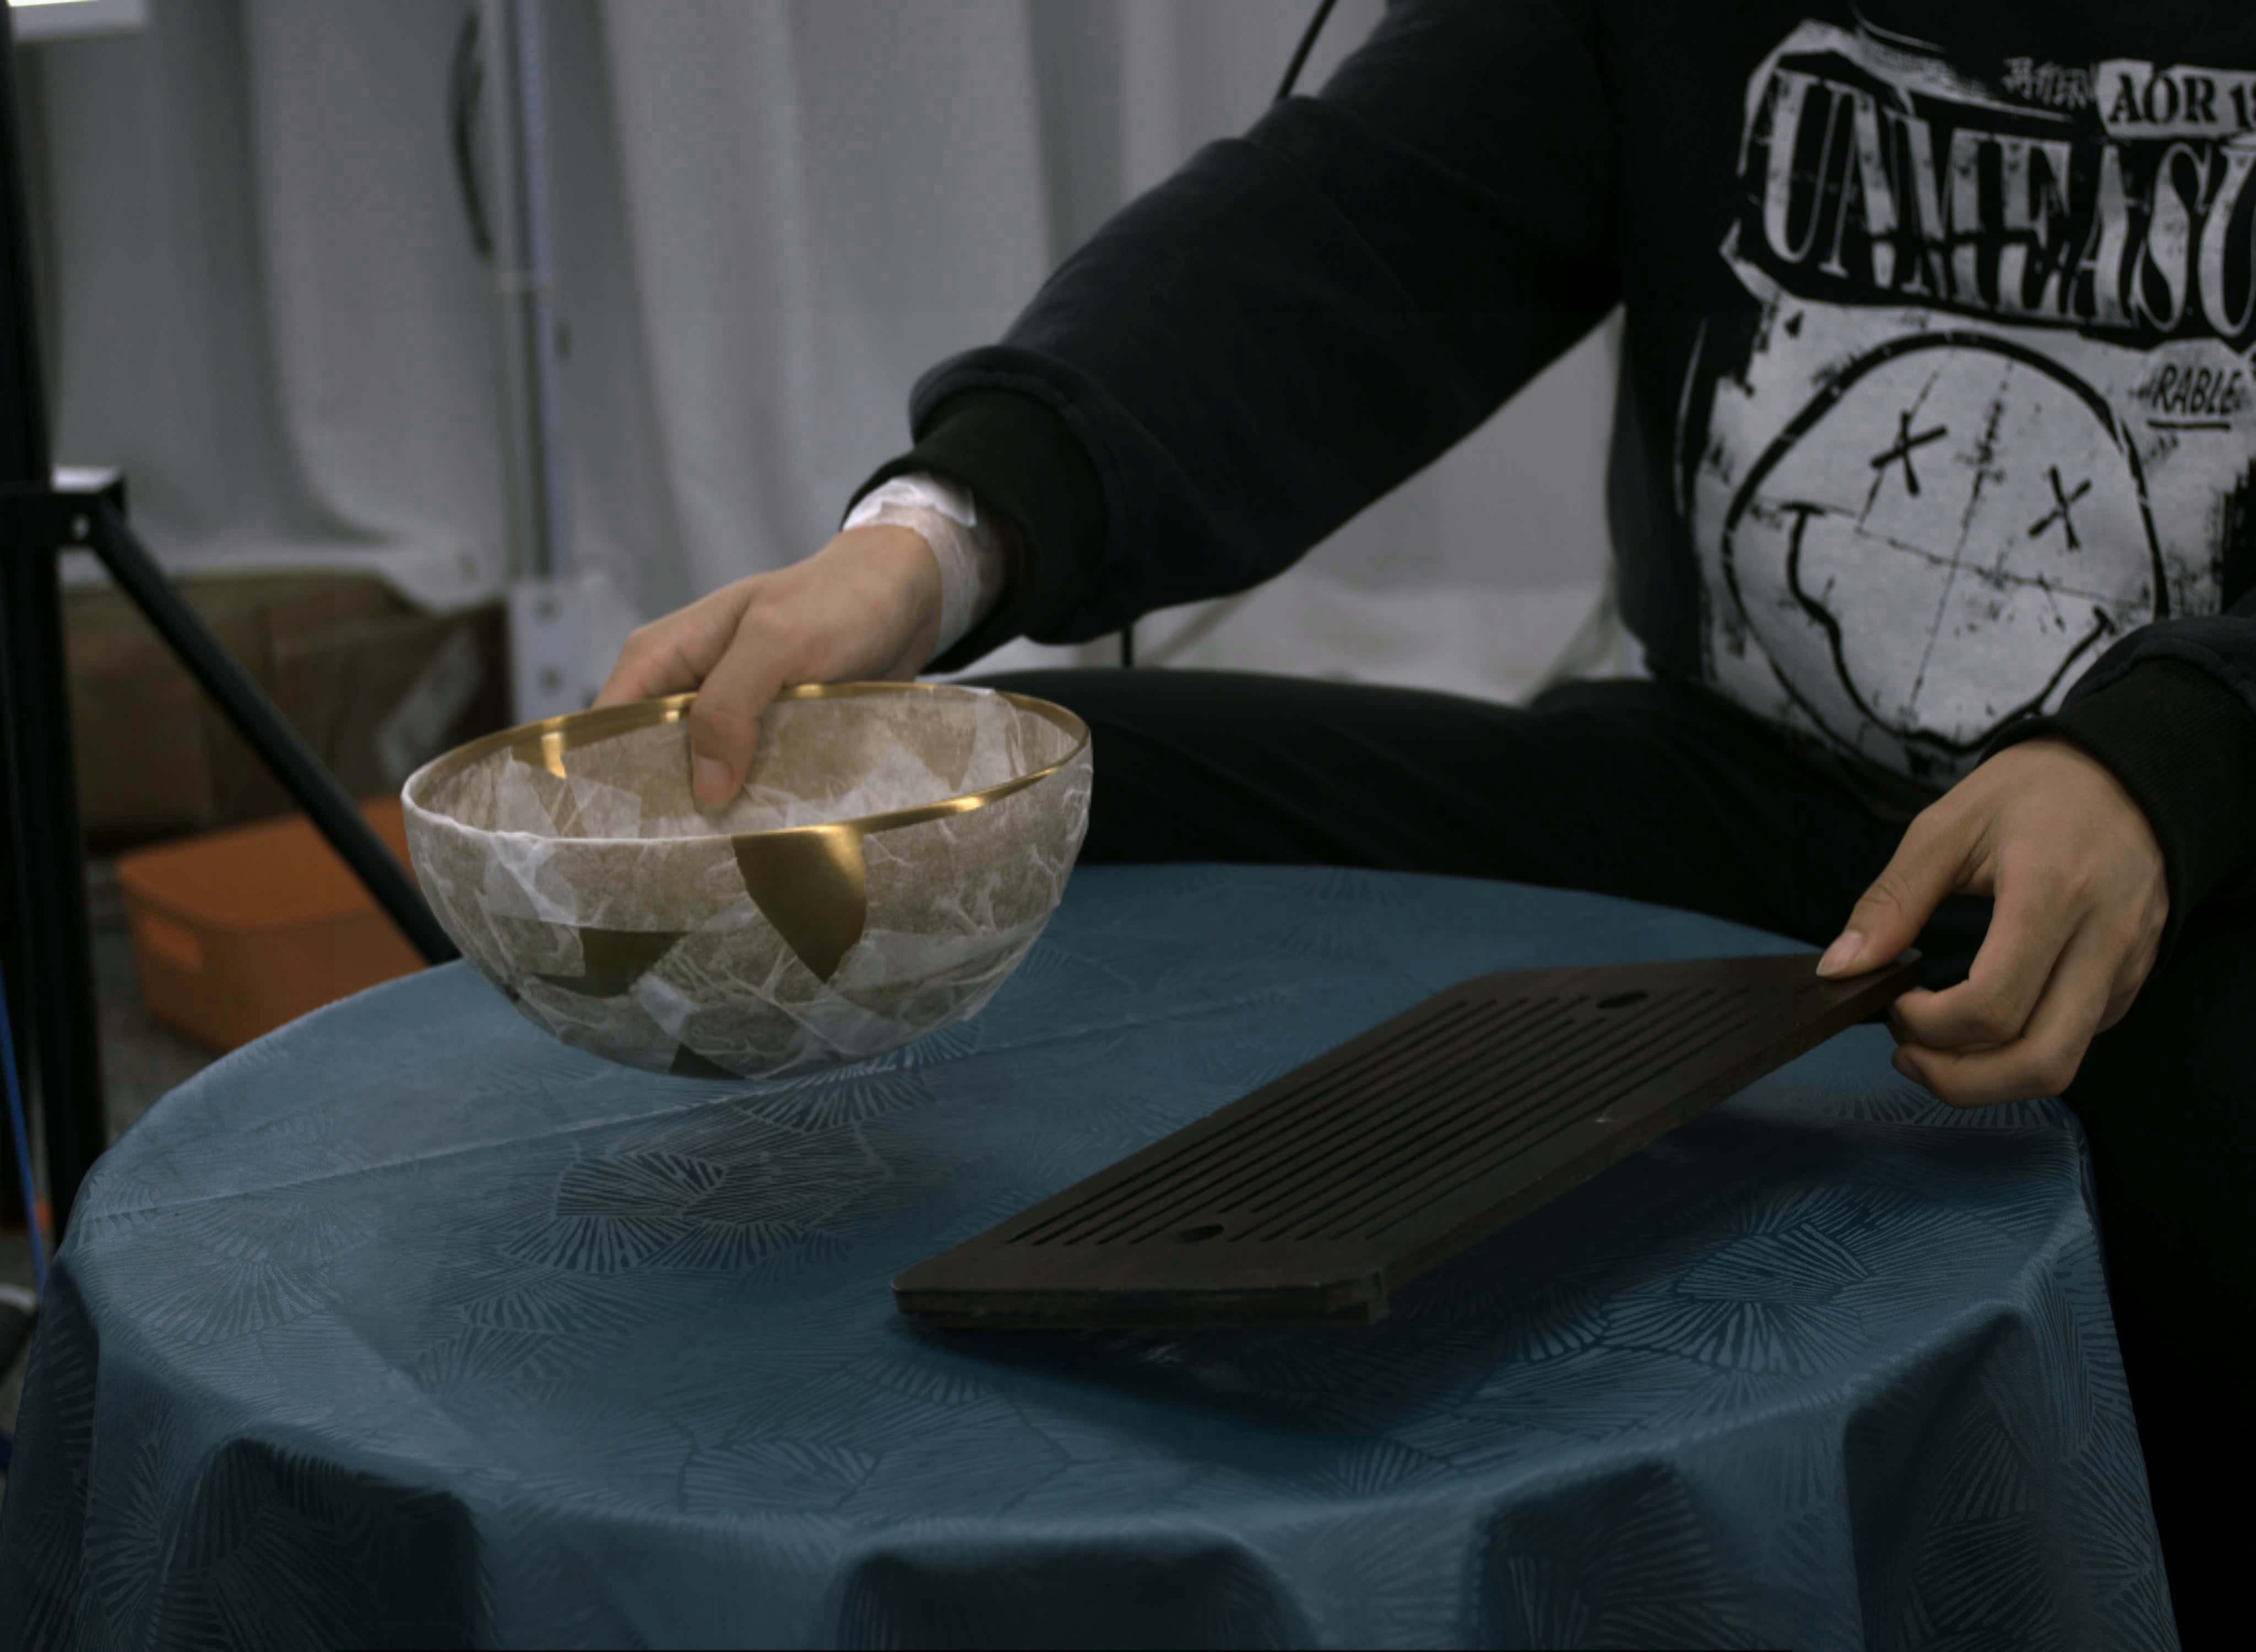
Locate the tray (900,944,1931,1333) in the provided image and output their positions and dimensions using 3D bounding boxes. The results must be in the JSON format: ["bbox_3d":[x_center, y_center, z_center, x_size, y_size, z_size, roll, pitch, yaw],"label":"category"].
[{"bbox_3d":[0.088,0.089,1.504,0.173,0.018,0.300,-4,13,40],"label":"tray"}]

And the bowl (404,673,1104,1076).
[{"bbox_3d":[-0.103,0.020,1.561,0.214,0.094,0.215,-6,13,0],"label":"bowl"}]
